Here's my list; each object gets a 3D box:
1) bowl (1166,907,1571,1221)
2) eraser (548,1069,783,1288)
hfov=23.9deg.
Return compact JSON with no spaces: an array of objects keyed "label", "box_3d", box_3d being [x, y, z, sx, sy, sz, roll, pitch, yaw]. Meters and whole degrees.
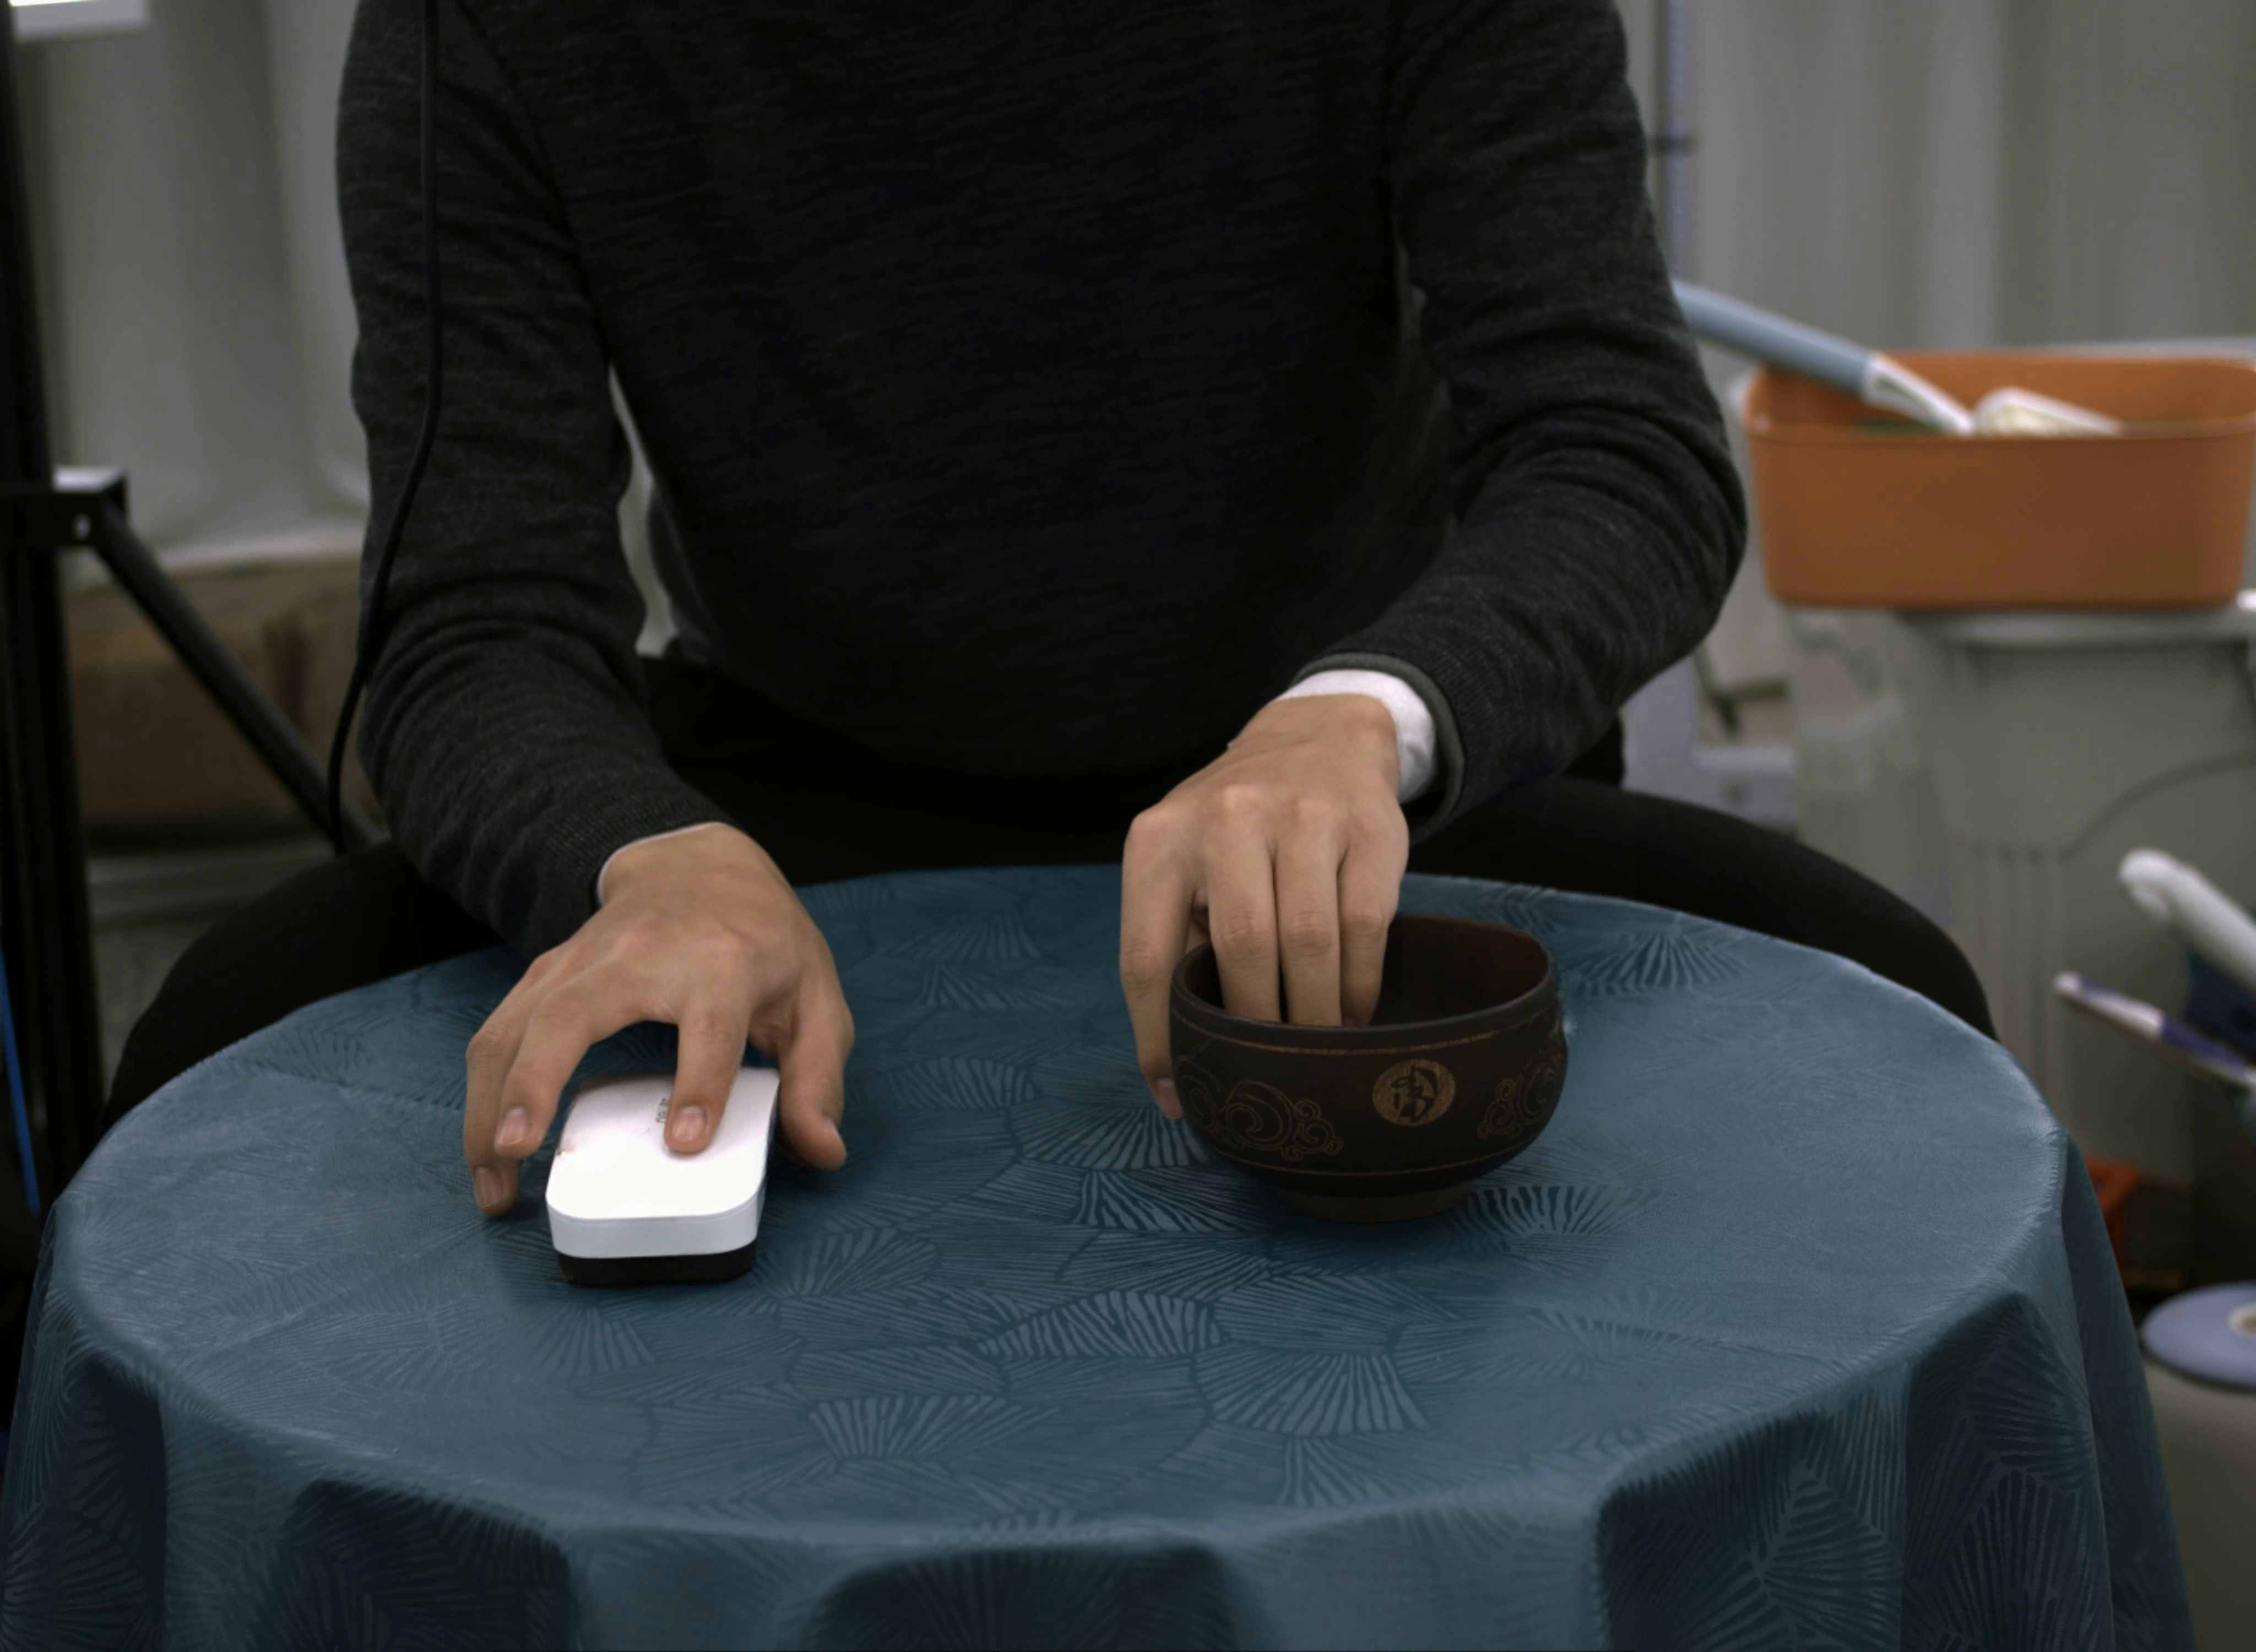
[{"label":"bowl","box_3d":[0.070,0.073,1.538,0.117,0.070,0.118,-4,15,0]},{"label":"eraser","box_3d":[-0.133,0.099,1.557,0.063,0.034,0.132,-1,16,1]}]
